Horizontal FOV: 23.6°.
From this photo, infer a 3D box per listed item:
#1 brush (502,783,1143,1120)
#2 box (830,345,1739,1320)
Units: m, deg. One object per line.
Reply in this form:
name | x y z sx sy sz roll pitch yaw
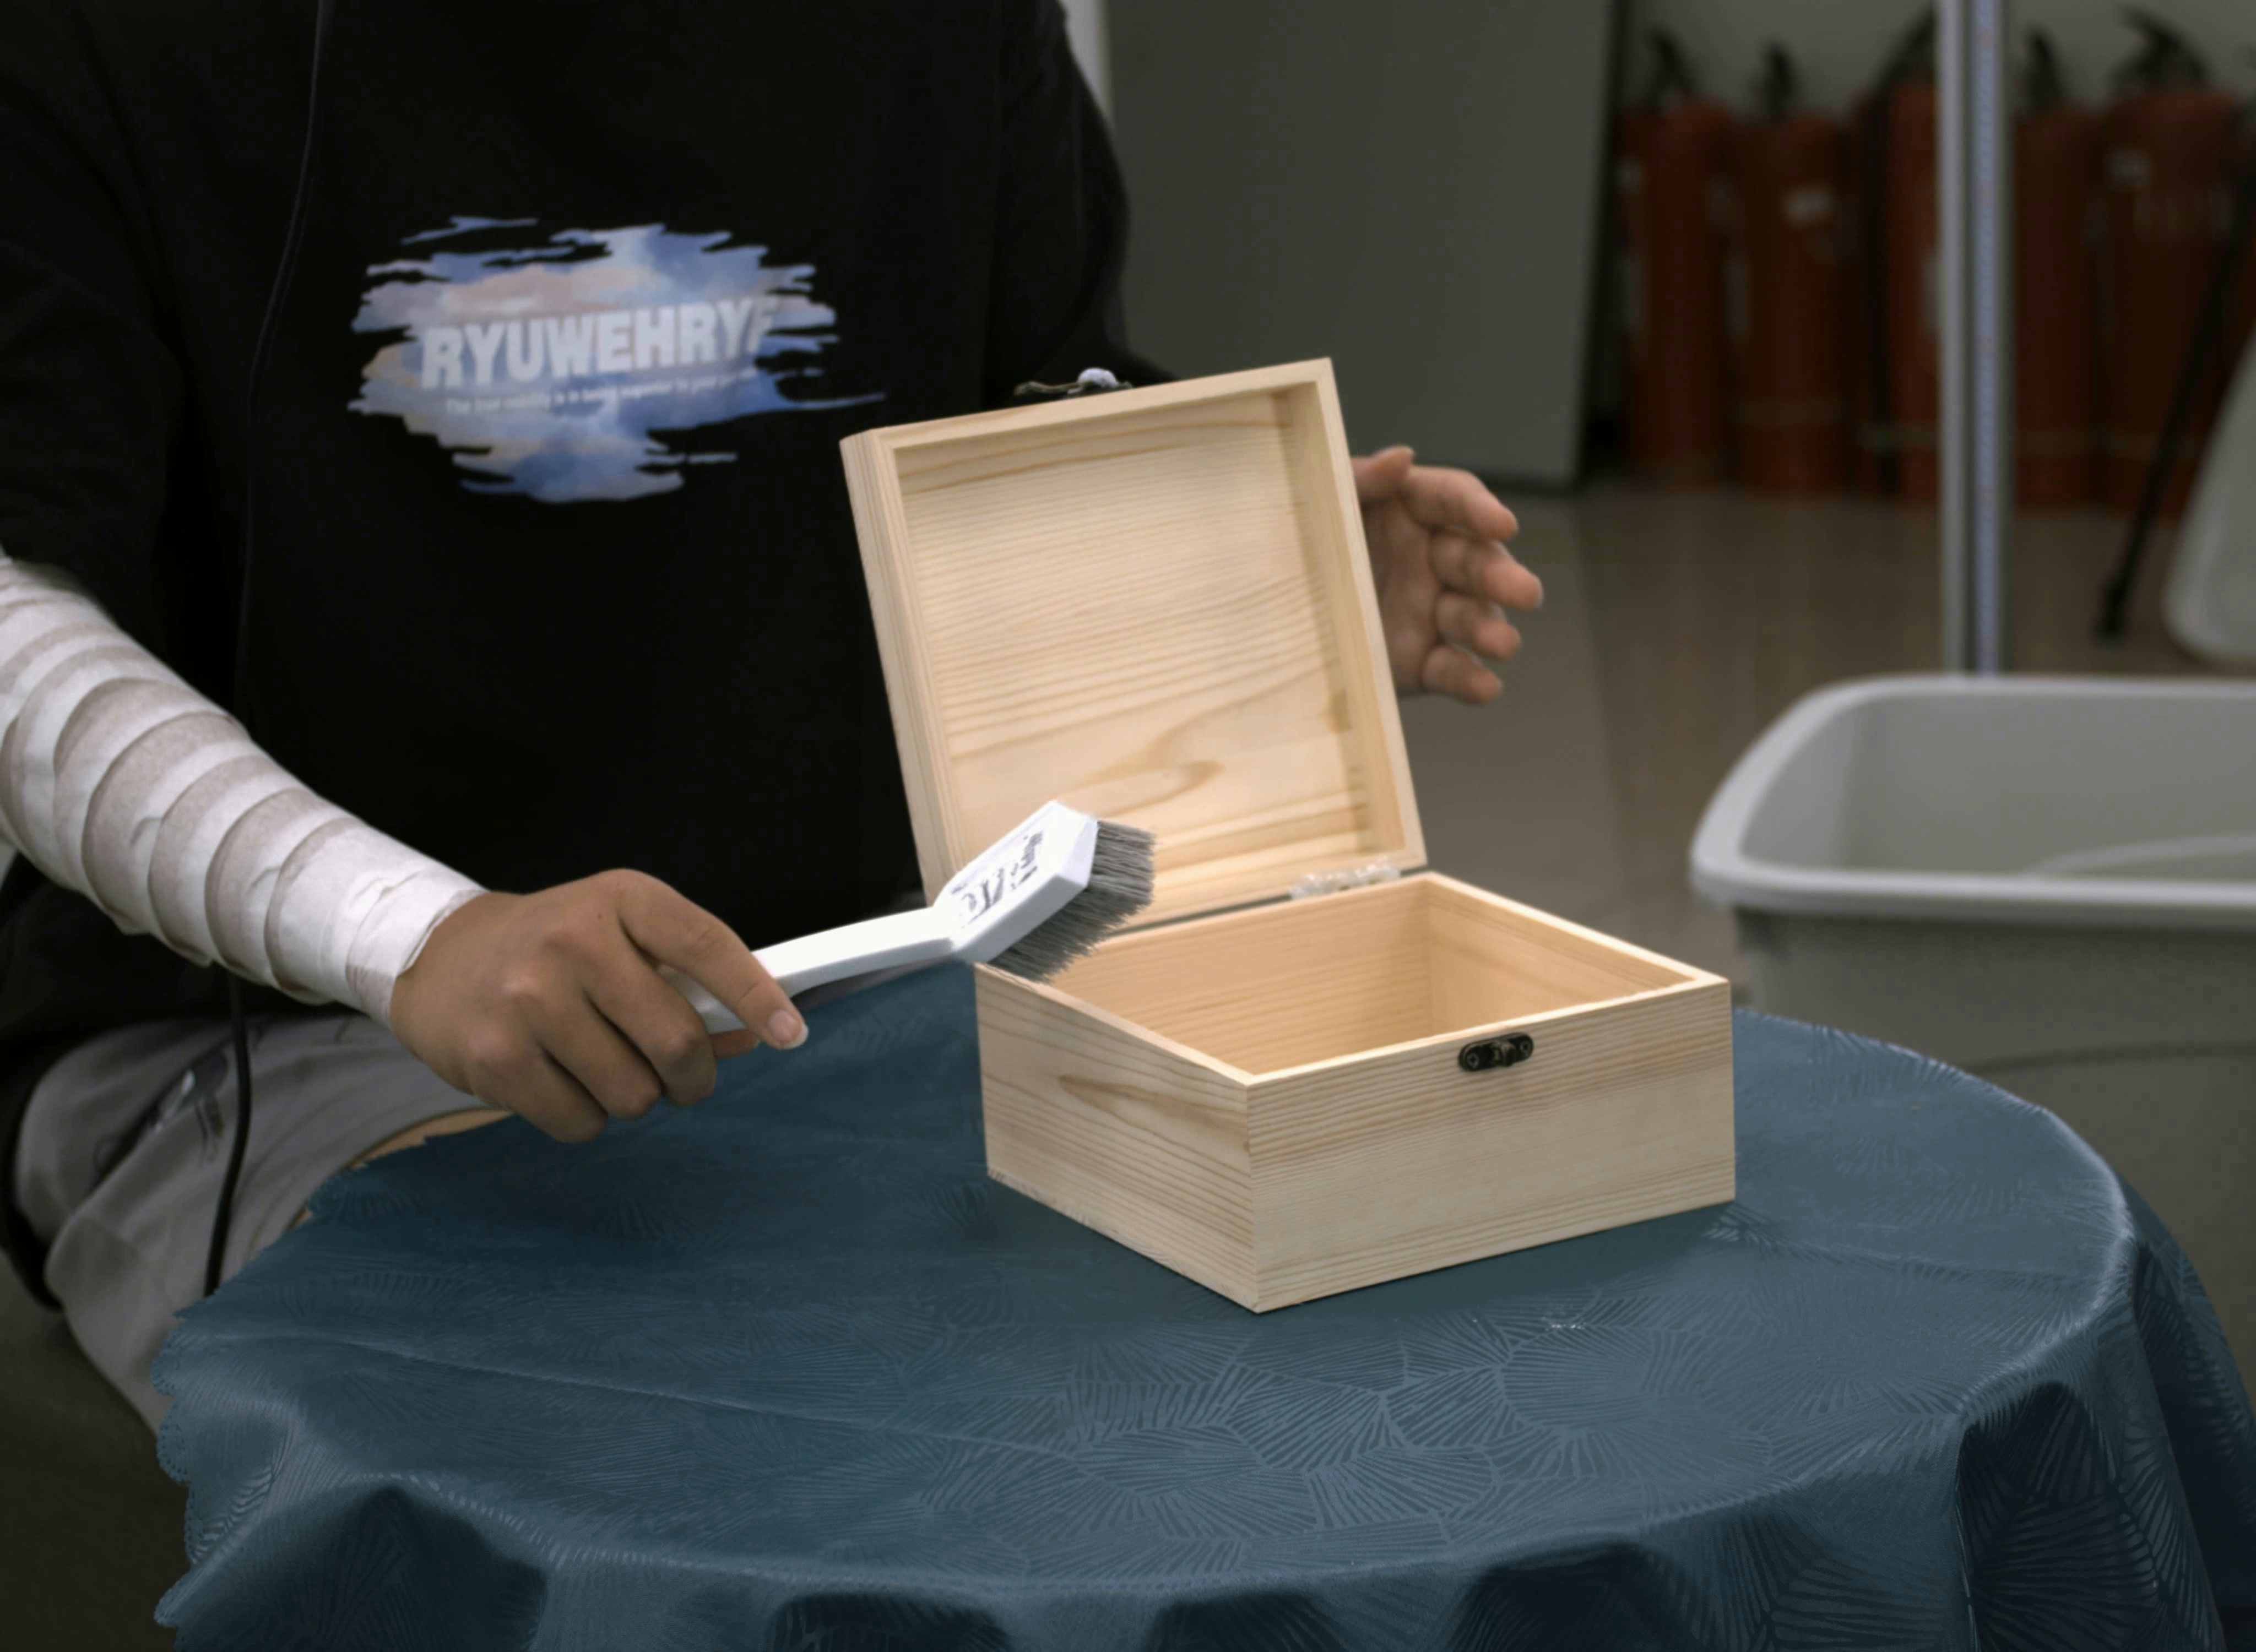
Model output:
brush | -0.097 0.051 1.732 0.245 0.049 0.035 -26 45 27
box | 0.050 -0.008 1.761 0.178 0.256 0.268 -12 15 -27
